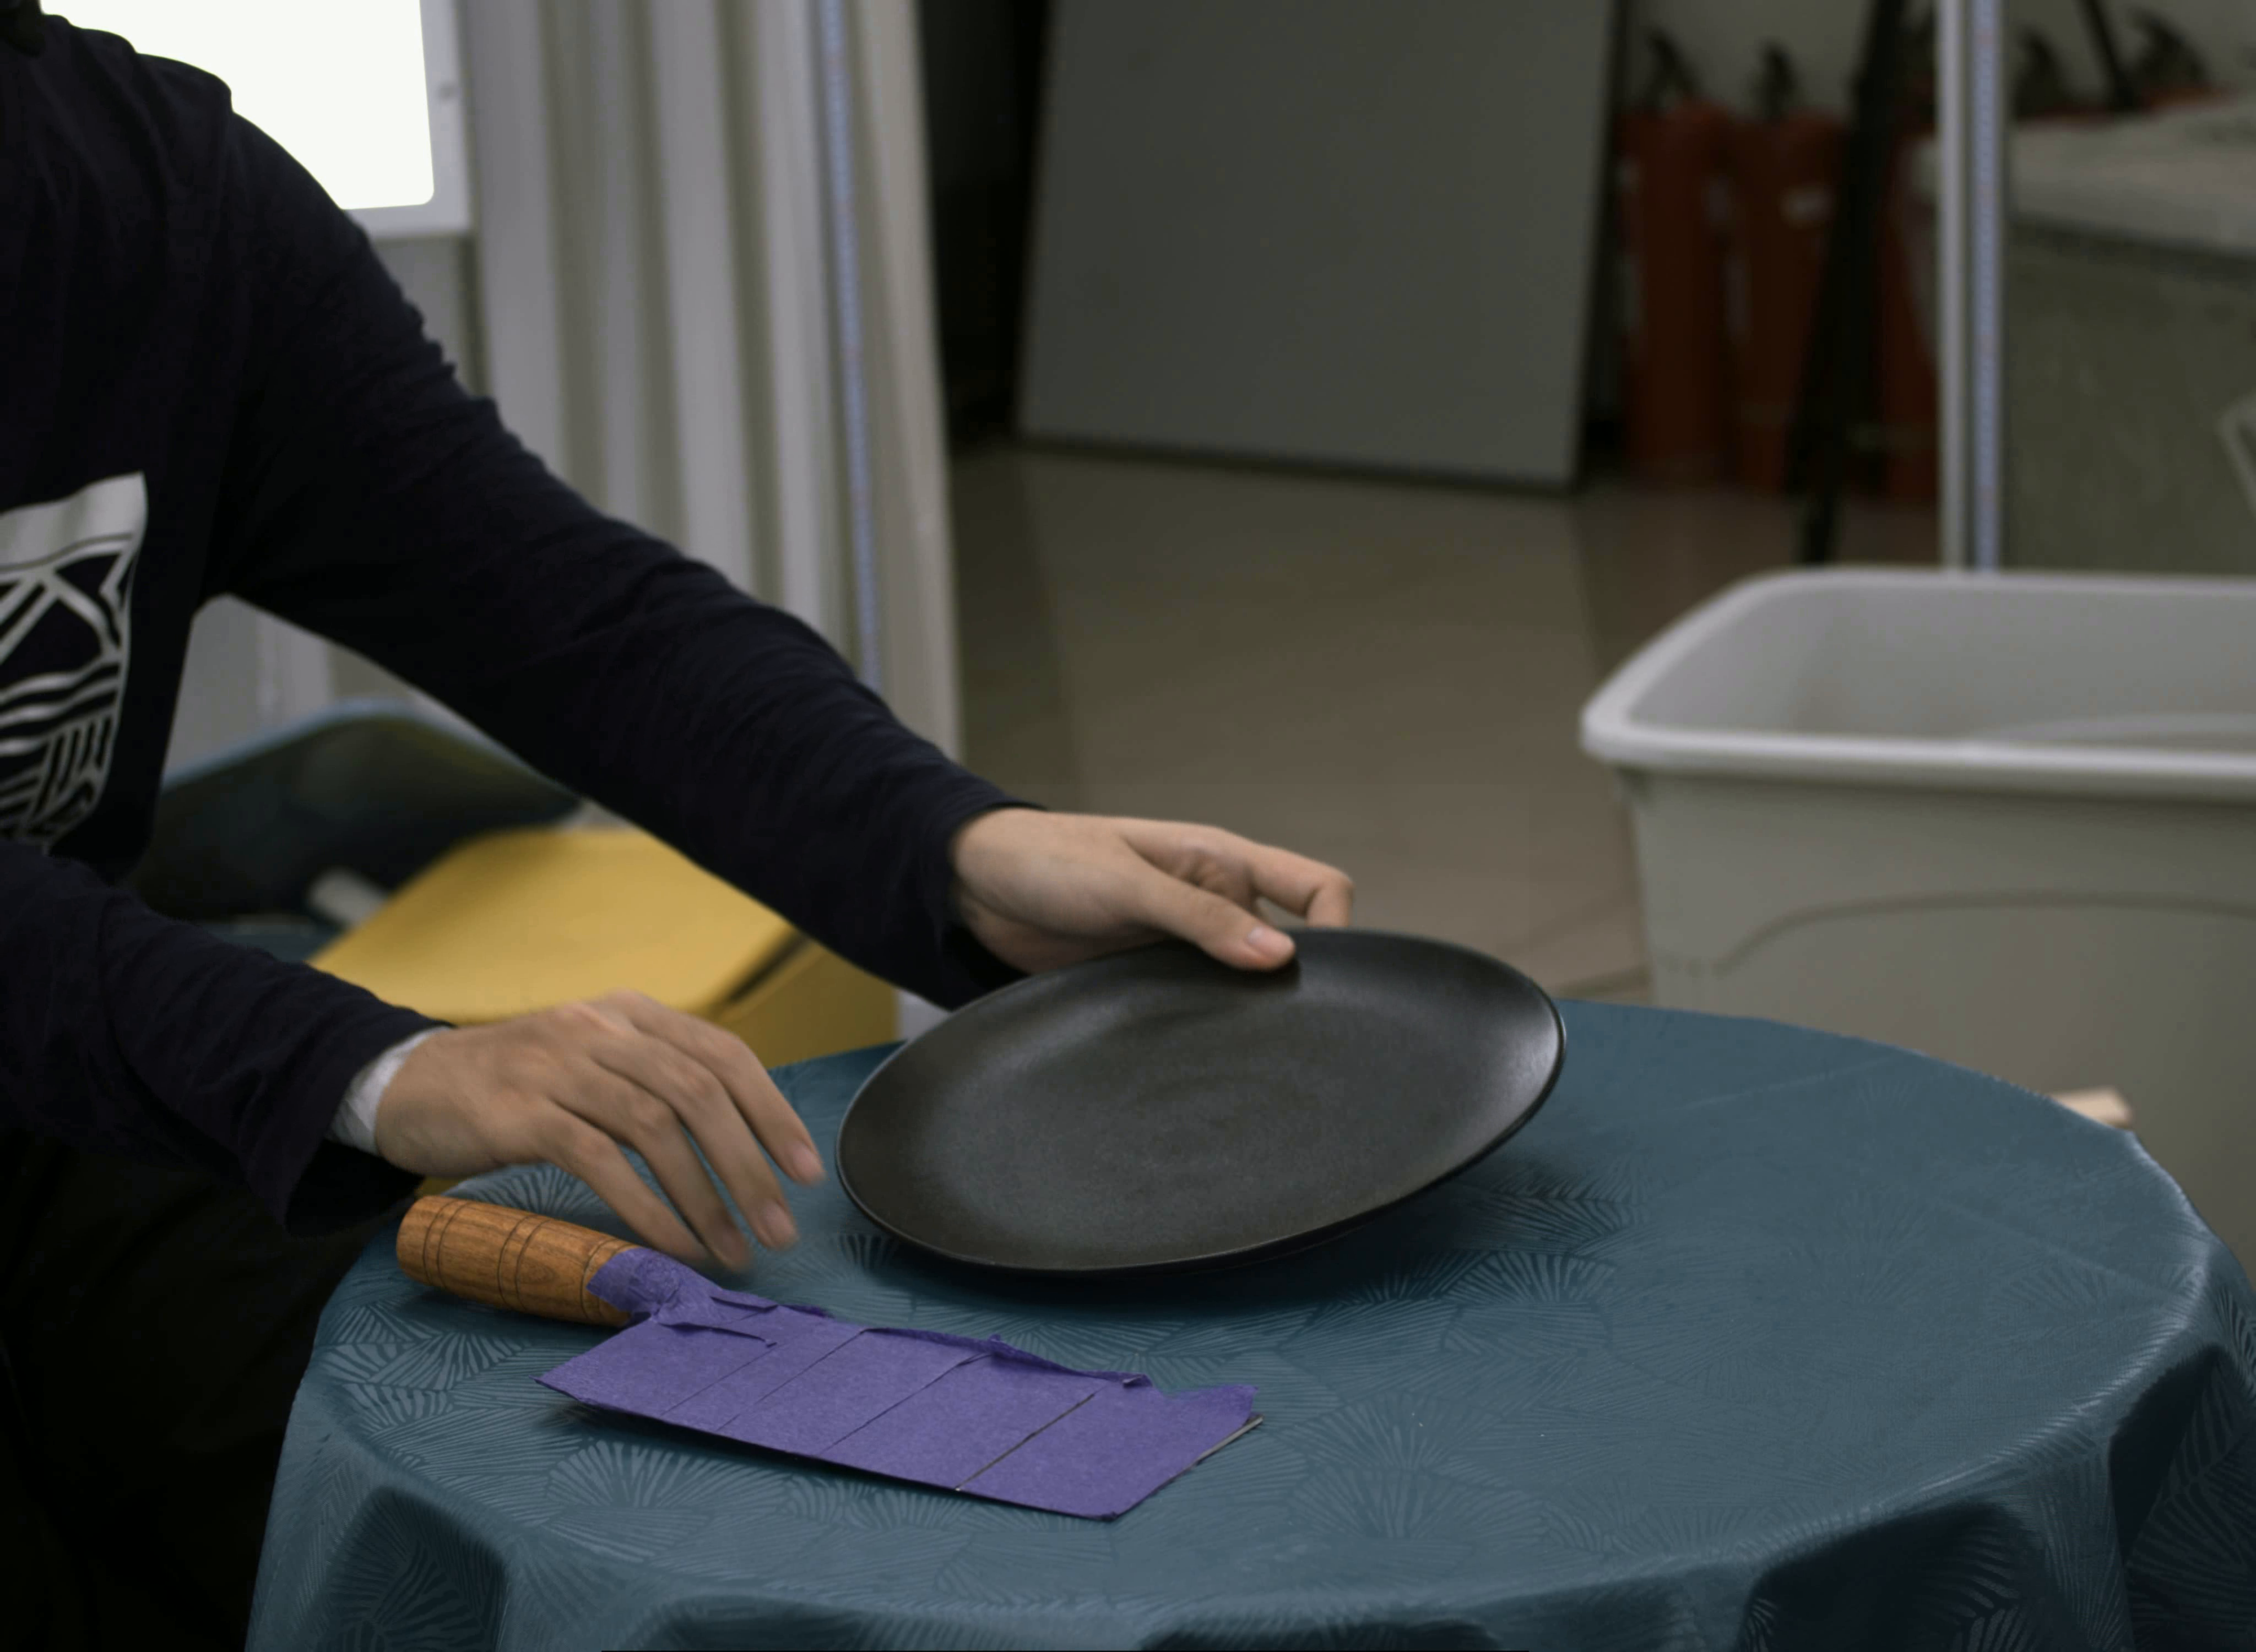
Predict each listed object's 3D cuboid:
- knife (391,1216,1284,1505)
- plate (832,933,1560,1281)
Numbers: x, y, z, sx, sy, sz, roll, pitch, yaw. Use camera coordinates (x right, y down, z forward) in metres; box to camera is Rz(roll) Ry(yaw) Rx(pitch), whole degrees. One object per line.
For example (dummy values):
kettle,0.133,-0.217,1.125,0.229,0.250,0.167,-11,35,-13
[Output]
knife,-0.109,0.157,1.602,0.317,0.032,0.102,5,16,33
plate,0.023,0.096,1.757,0.242,0.023,0.245,-10,22,3
